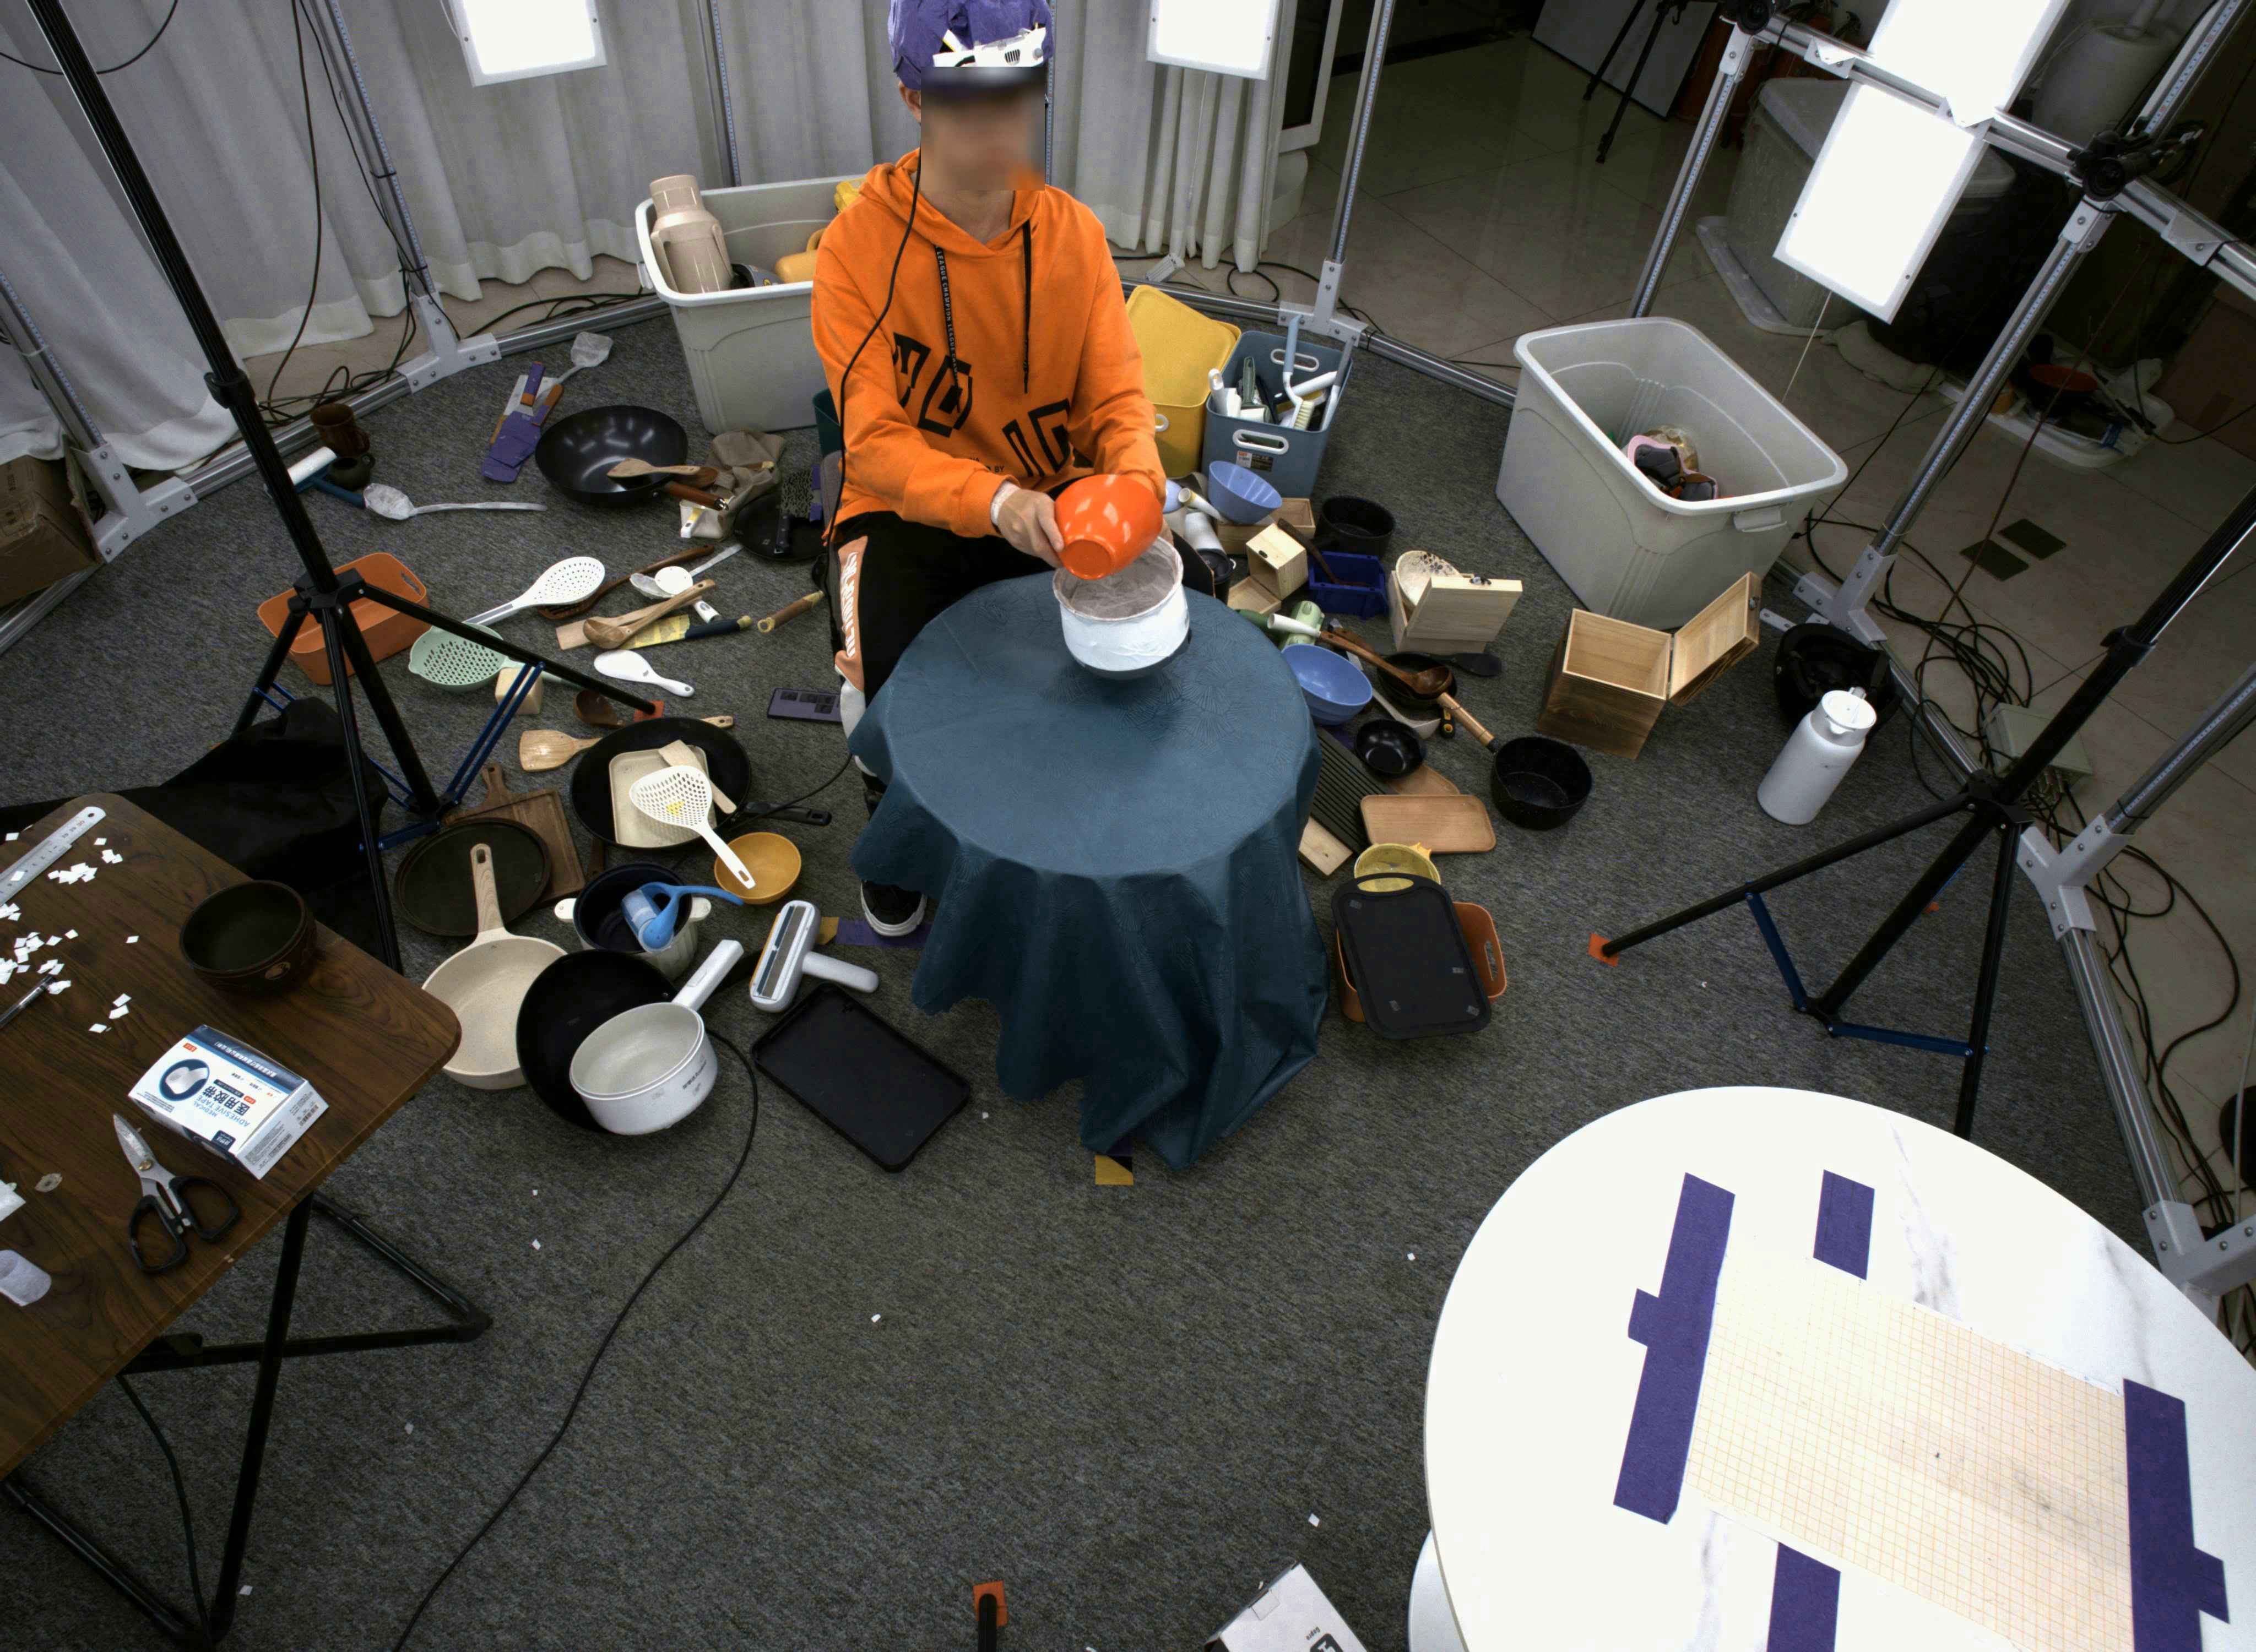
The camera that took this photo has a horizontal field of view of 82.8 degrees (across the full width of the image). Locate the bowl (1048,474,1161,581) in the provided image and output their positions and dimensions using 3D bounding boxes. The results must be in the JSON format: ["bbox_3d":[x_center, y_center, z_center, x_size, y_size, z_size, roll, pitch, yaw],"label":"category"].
[{"bbox_3d":[-0.036,-0.375,1.679,0.148,0.144,0.107,8,50,2],"label":"bowl"}]

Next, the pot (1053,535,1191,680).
[{"bbox_3d":[-0.002,-0.323,1.792,0.179,0.133,0.239,2,53,11],"label":"pot"}]
